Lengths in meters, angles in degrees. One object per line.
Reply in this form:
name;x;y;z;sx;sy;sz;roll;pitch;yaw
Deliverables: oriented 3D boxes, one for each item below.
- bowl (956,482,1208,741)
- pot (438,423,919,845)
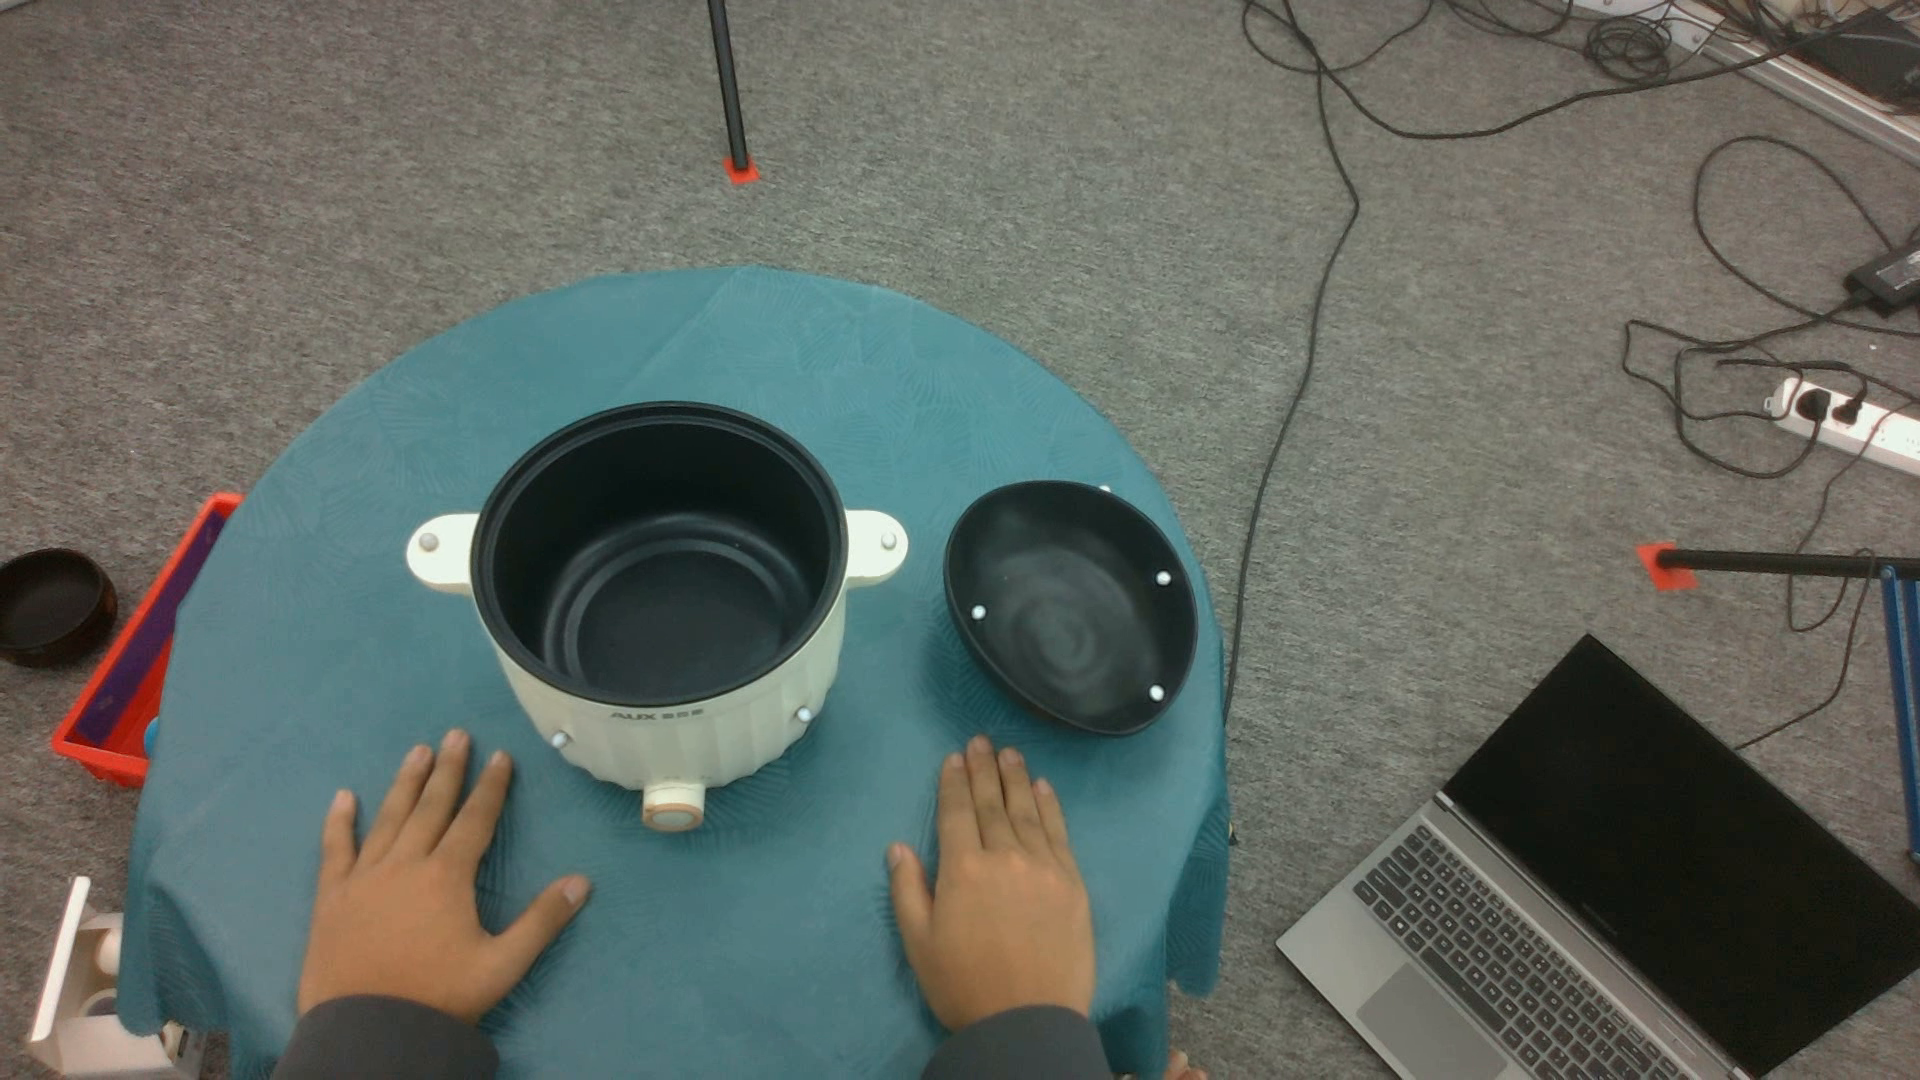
bowl;0.069;0.047;0.804;0.138;0.066;0.170;-23;61;-18
pot;-0.141;0.053;0.743;0.240;0.142;0.191;-5;52;-5
